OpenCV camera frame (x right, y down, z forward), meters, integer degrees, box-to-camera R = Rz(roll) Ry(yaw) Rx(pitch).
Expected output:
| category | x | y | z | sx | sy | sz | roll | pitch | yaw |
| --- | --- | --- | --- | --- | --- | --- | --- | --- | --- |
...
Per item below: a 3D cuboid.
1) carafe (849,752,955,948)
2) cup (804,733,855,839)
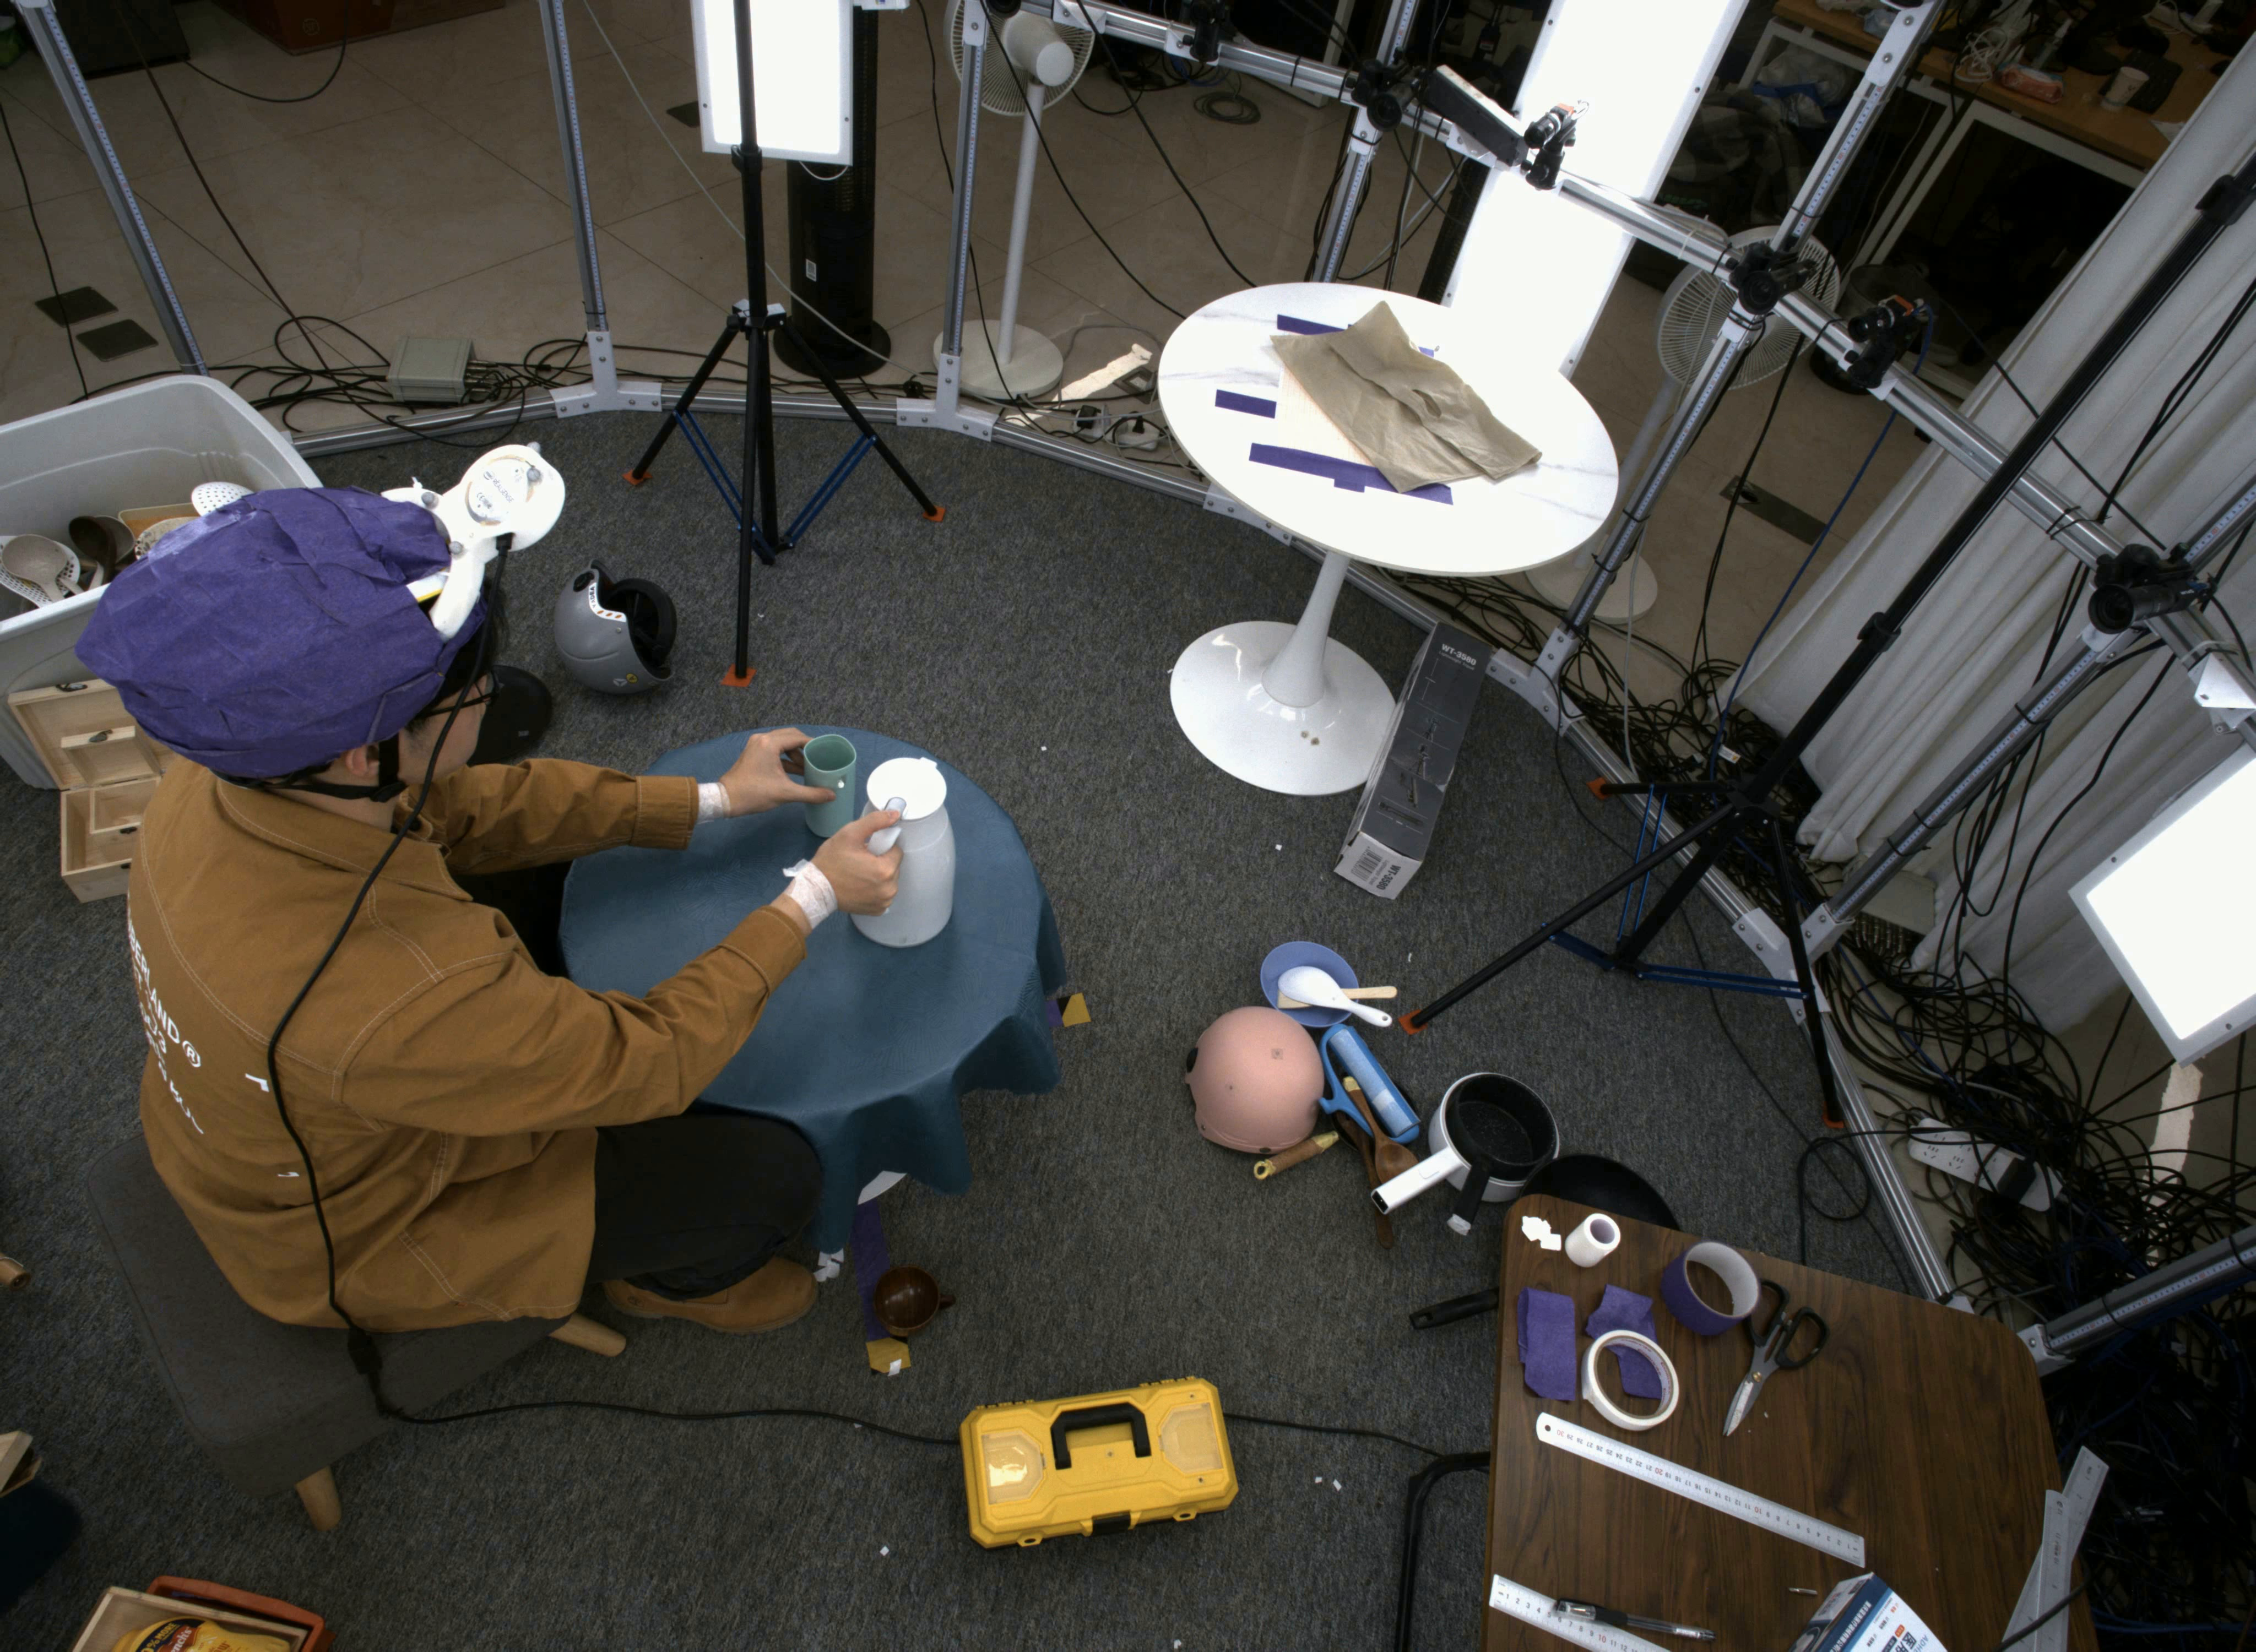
| category | x | y | z | sx | sy | sz | roll | pitch | yaw |
| --- | --- | --- | --- | --- | --- | --- | --- | --- | --- |
| carafe | -0.279 | 0.037 | 1.571 | 0.131 | 0.254 | 0.166 | 20 | 52 | 4 |
| cup | -0.390 | -0.051 | 1.687 | 0.066 | 0.135 | 0.065 | 7 | 48 | -7 |
